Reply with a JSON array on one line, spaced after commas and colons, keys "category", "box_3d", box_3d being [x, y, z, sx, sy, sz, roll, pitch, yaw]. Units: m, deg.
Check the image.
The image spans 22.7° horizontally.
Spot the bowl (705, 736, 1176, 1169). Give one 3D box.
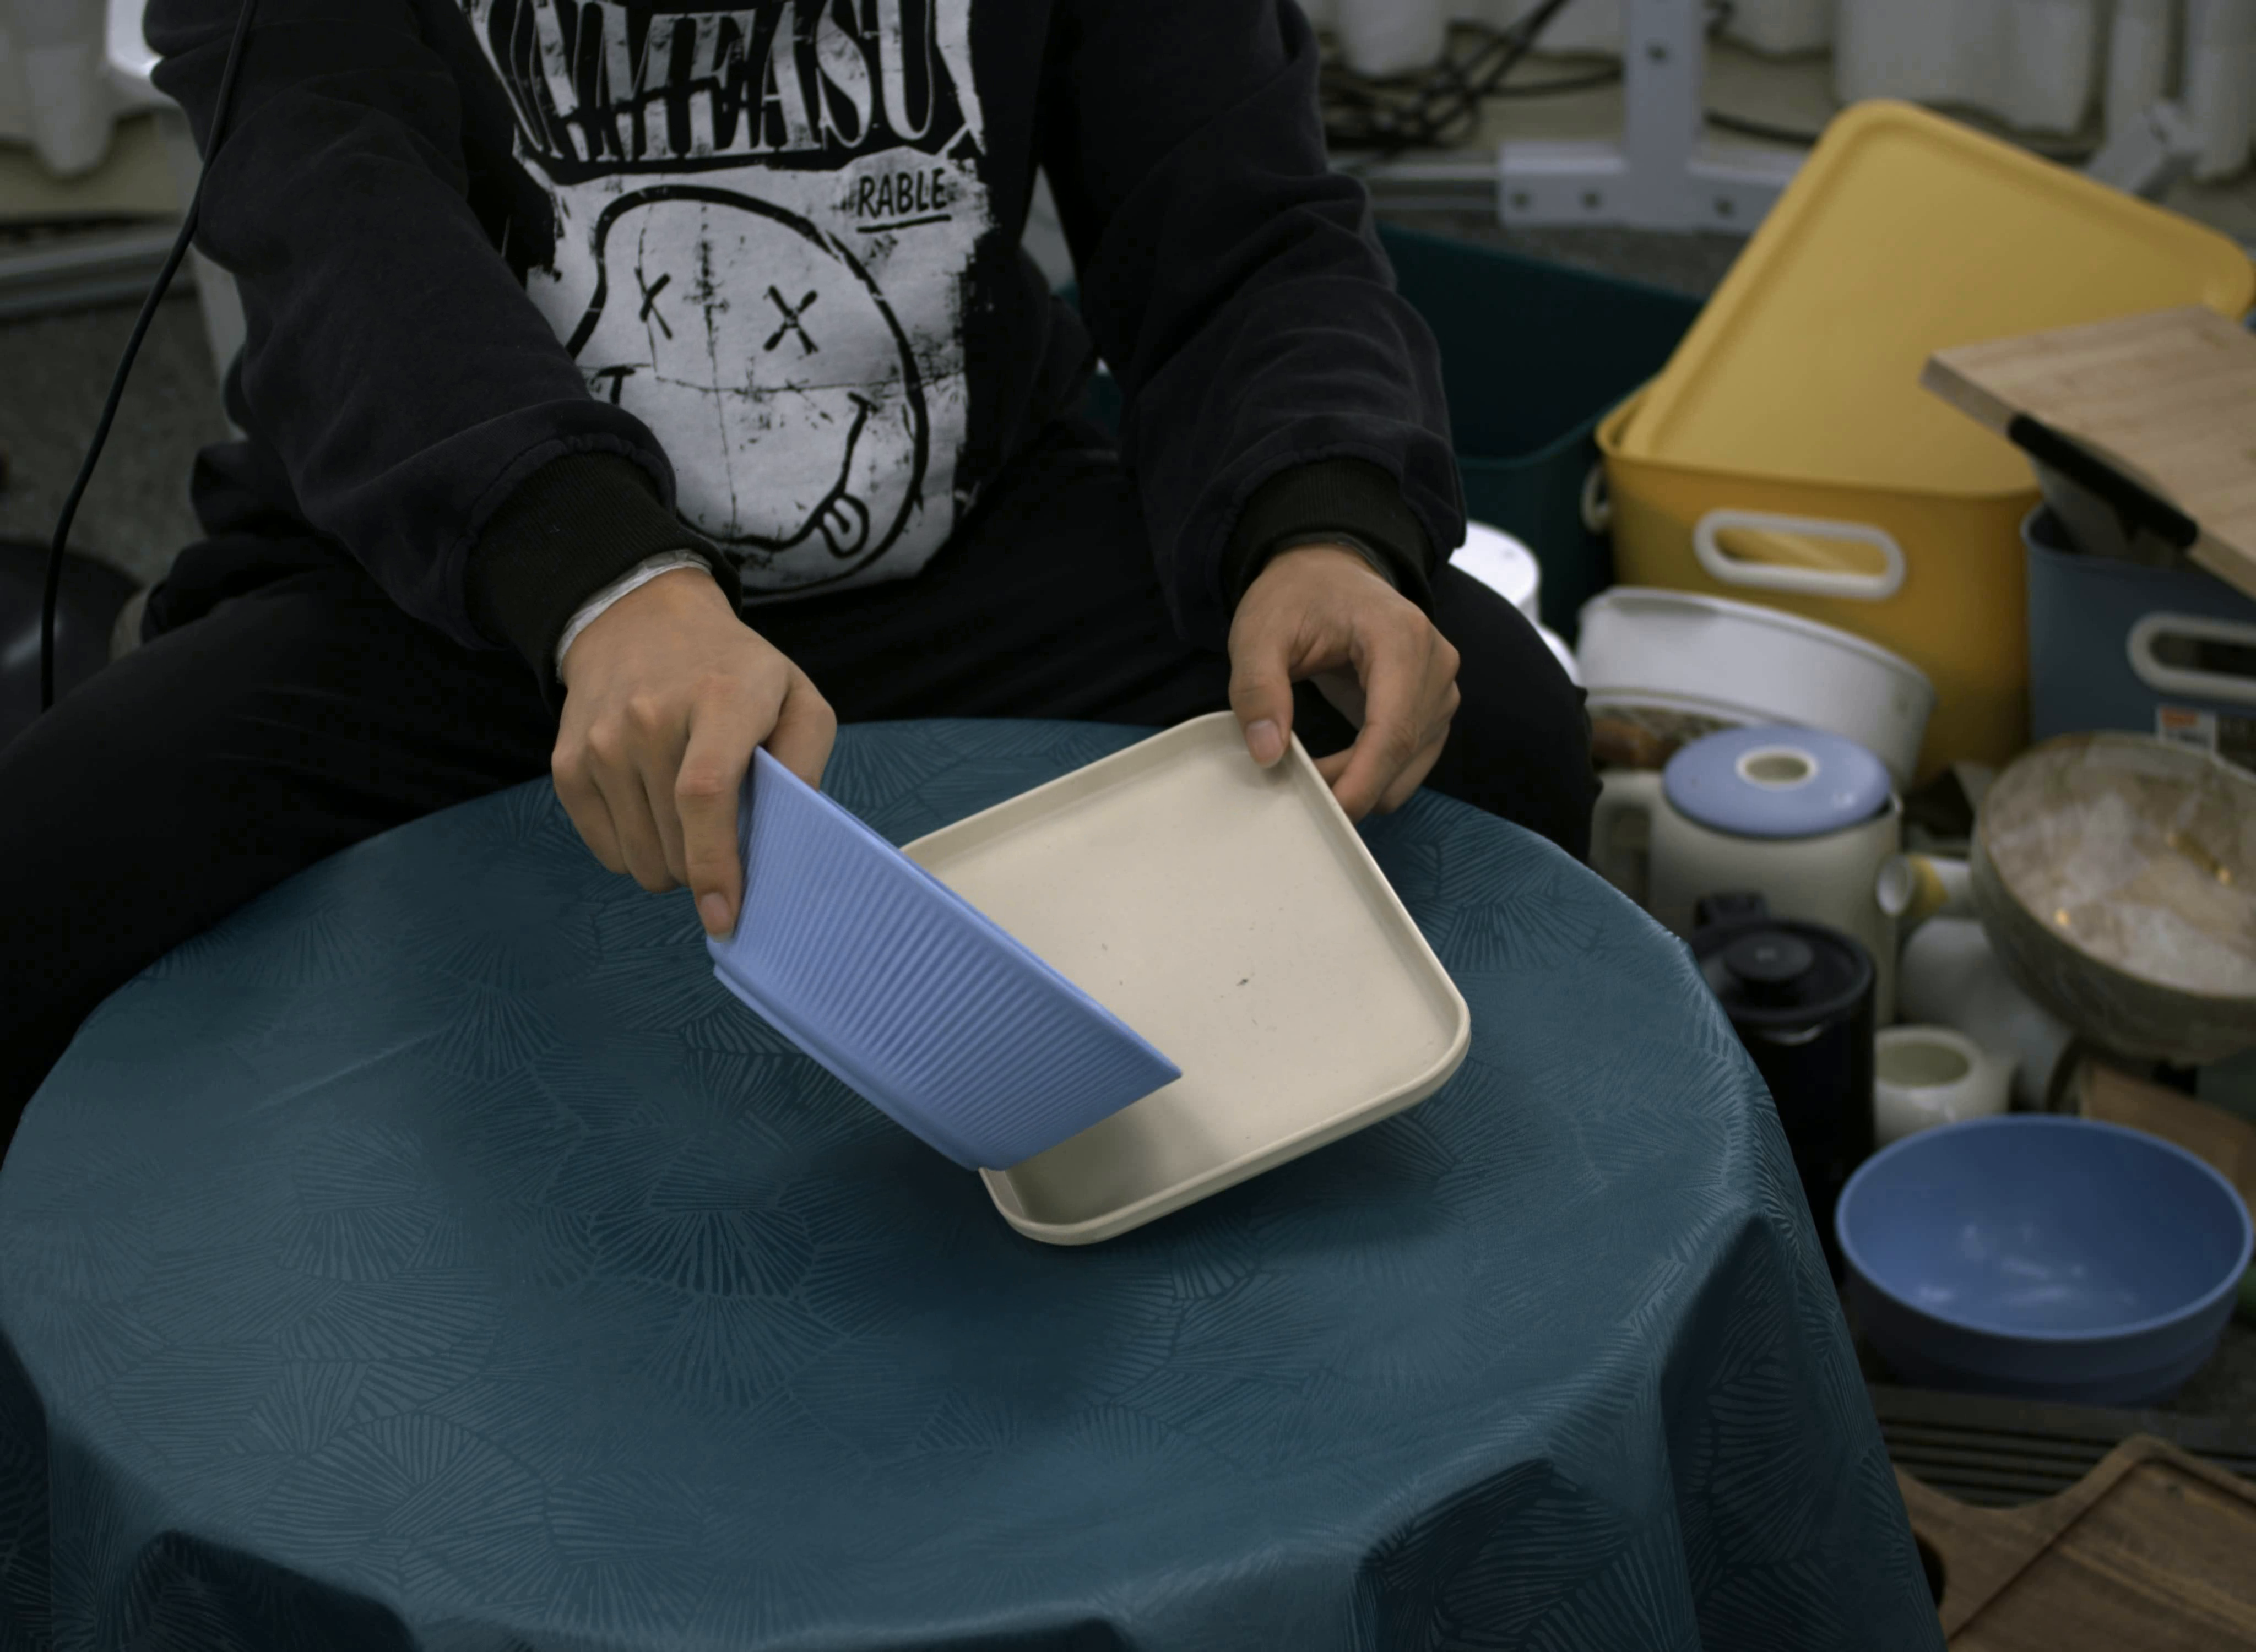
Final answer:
[{"category": "bowl", "box_3d": [-0.072, 0.051, 1.816, 0.070, 0.175, 0.177, -51, 39, -1]}]

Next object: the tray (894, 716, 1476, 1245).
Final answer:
[{"category": "tray", "box_3d": [0.011, 0.051, 1.922, 0.171, 0.017, 0.242, -22, 35, -6]}]
